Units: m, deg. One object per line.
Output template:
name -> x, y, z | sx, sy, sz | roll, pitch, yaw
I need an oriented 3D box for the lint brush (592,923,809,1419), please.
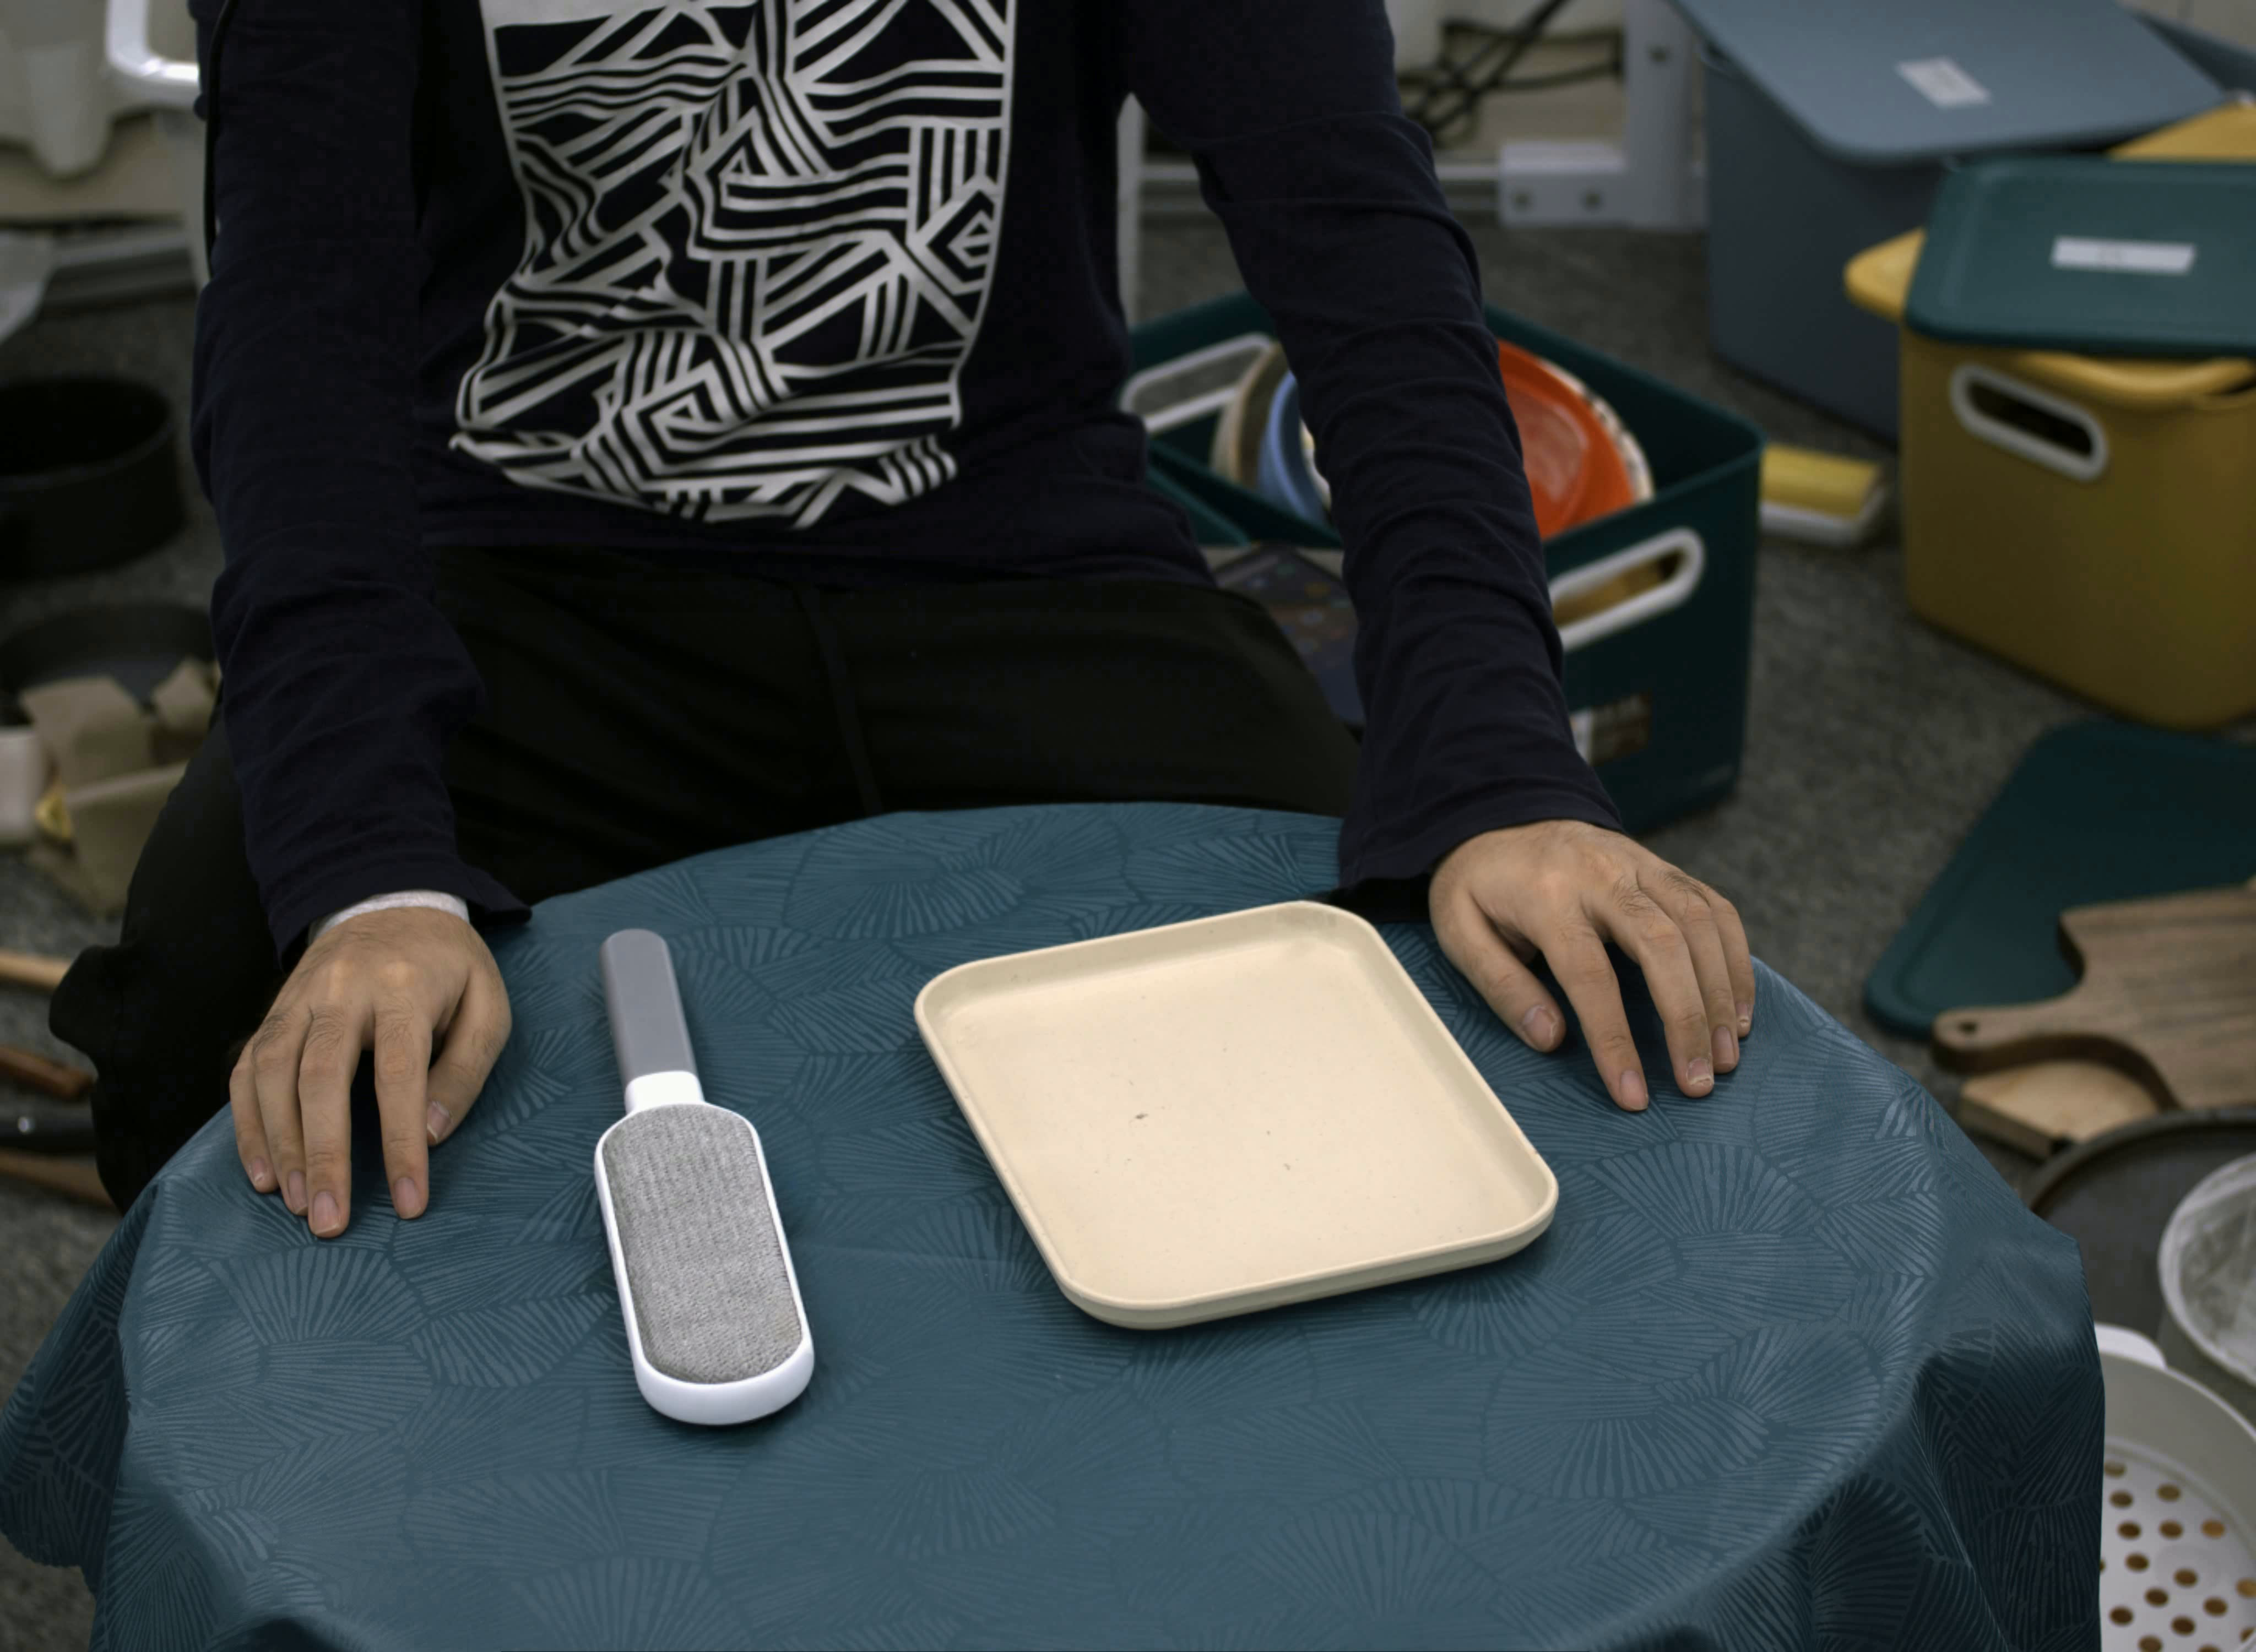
lint brush -> -0.149, 0.109, 1.870 | 0.060, 0.021, 0.312 | -12, 28, -5

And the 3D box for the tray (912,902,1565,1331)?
tray -> 0.034, 0.096, 1.889 | 0.171, 0.017, 0.242 | -11, 28, -14
